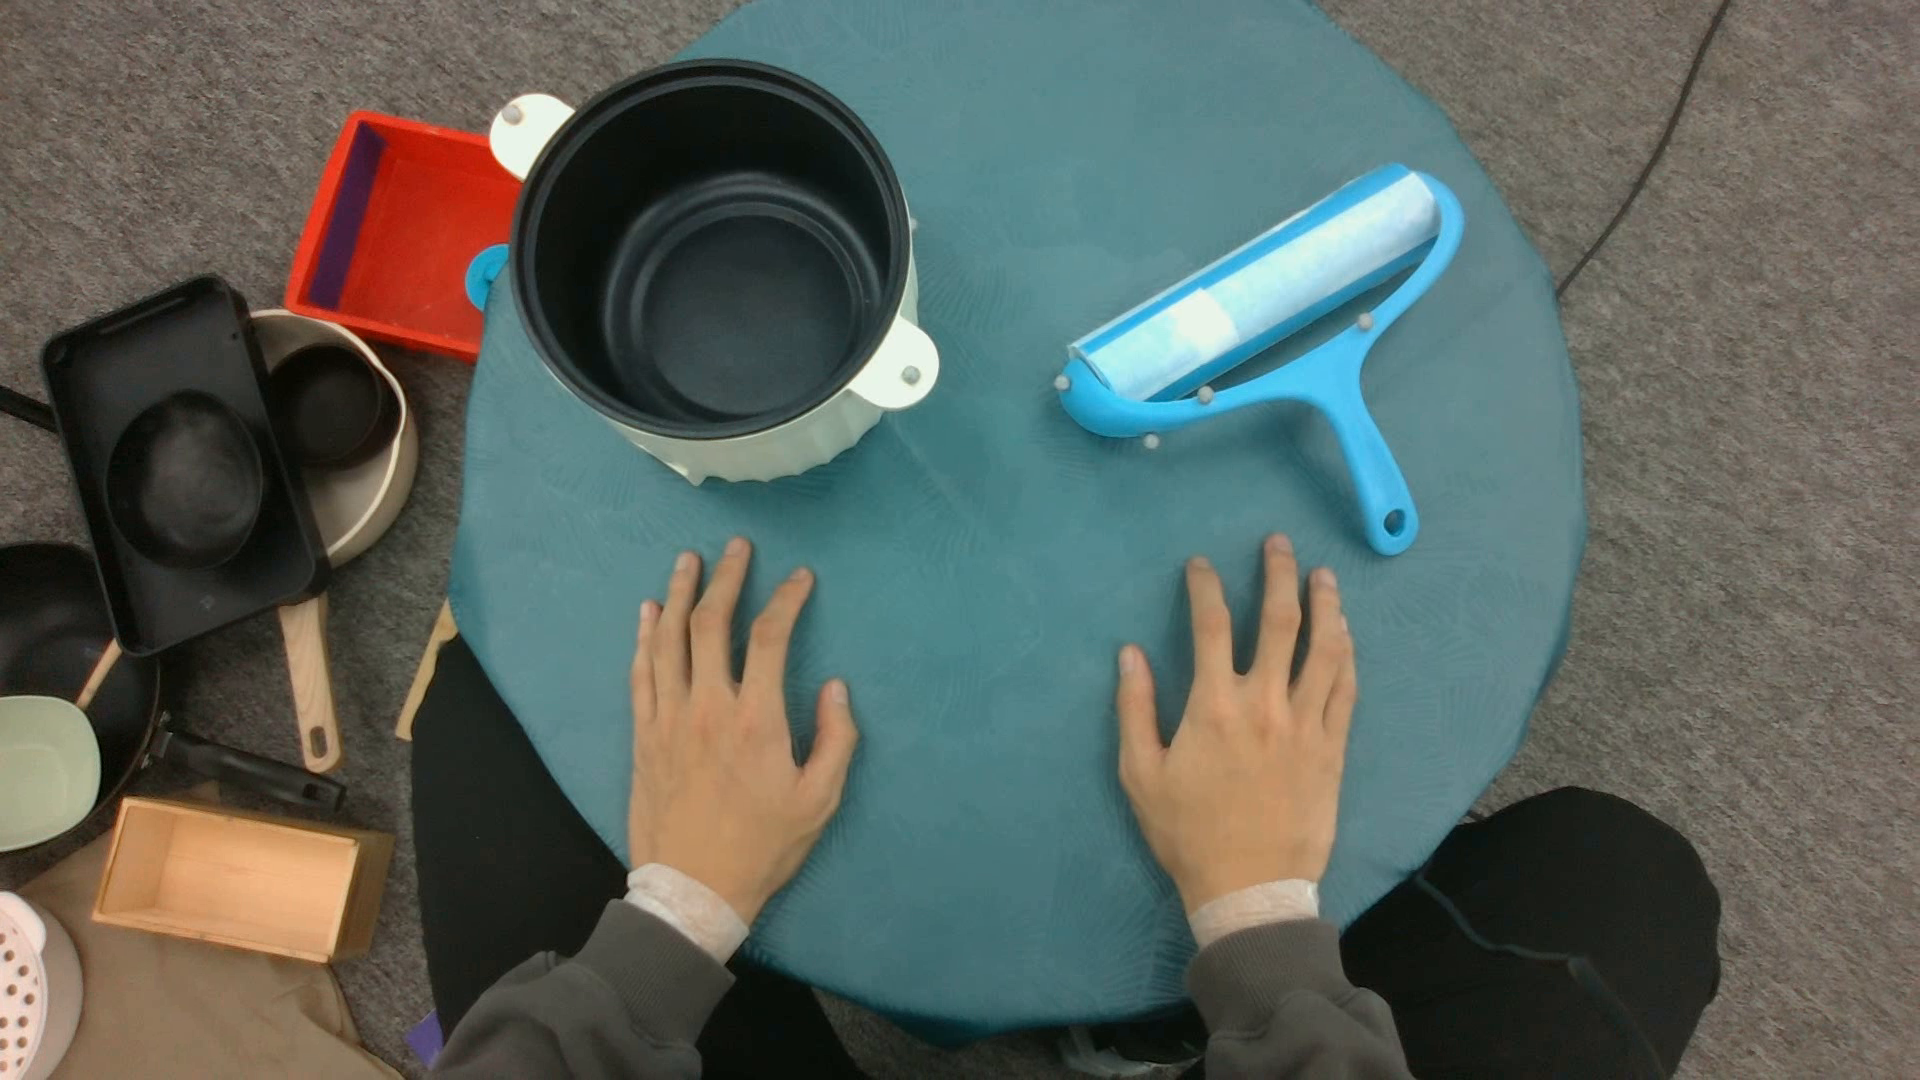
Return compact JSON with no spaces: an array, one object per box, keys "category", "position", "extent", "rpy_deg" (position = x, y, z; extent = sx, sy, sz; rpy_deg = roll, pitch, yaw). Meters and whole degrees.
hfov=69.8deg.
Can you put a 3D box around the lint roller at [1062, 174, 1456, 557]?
[{"category":"lint roller","position":[0.188,-0.076,0.721],"extent":[0.229,0.068,0.180],"rpy_deg":[-32,78,-5]}]

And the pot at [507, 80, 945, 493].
[{"category":"pot","position":[-0.106,-0.123,0.702],"extent":[0.240,0.142,0.190],"rpy_deg":[32,85,7]}]
